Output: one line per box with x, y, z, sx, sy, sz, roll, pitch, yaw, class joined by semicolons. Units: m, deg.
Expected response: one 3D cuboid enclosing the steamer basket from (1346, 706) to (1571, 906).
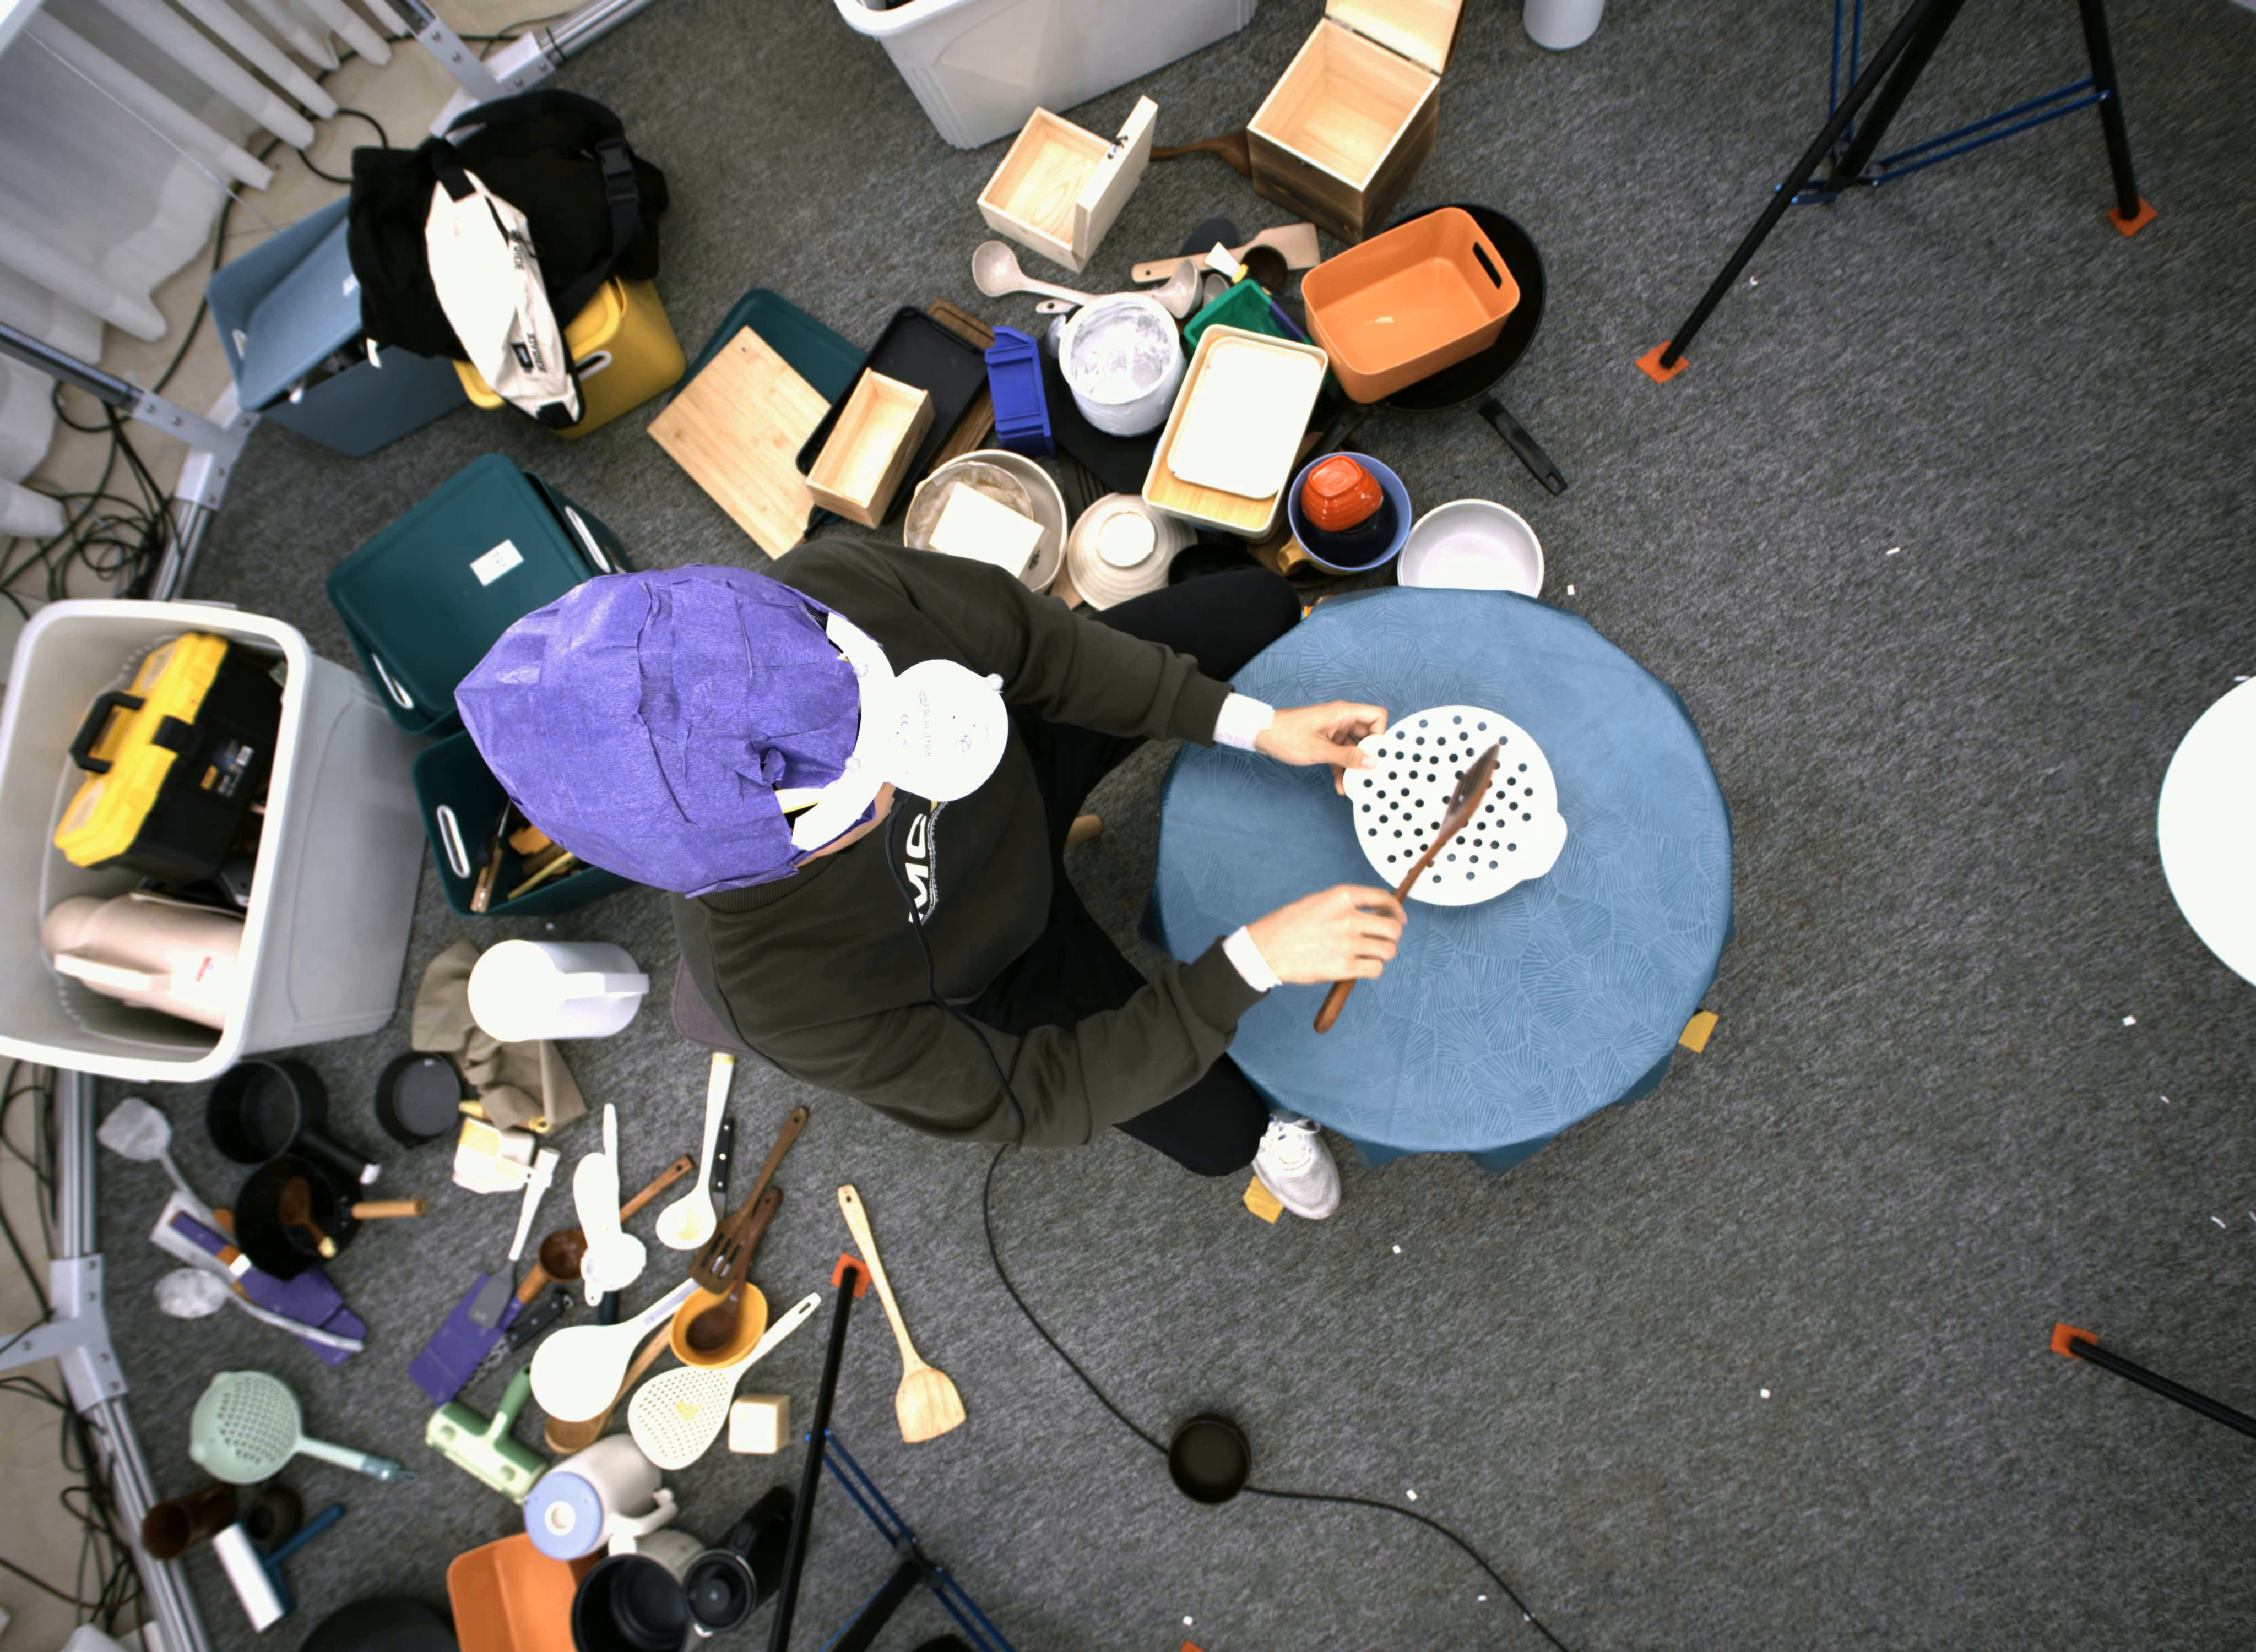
0.334;-0.024;1.406;0.230;0.068;0.203;25;100;5;steamer basket

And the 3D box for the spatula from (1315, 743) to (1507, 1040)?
0.269;0.056;1.291;0.024;0.088;0.377;40;58;0;spatula
